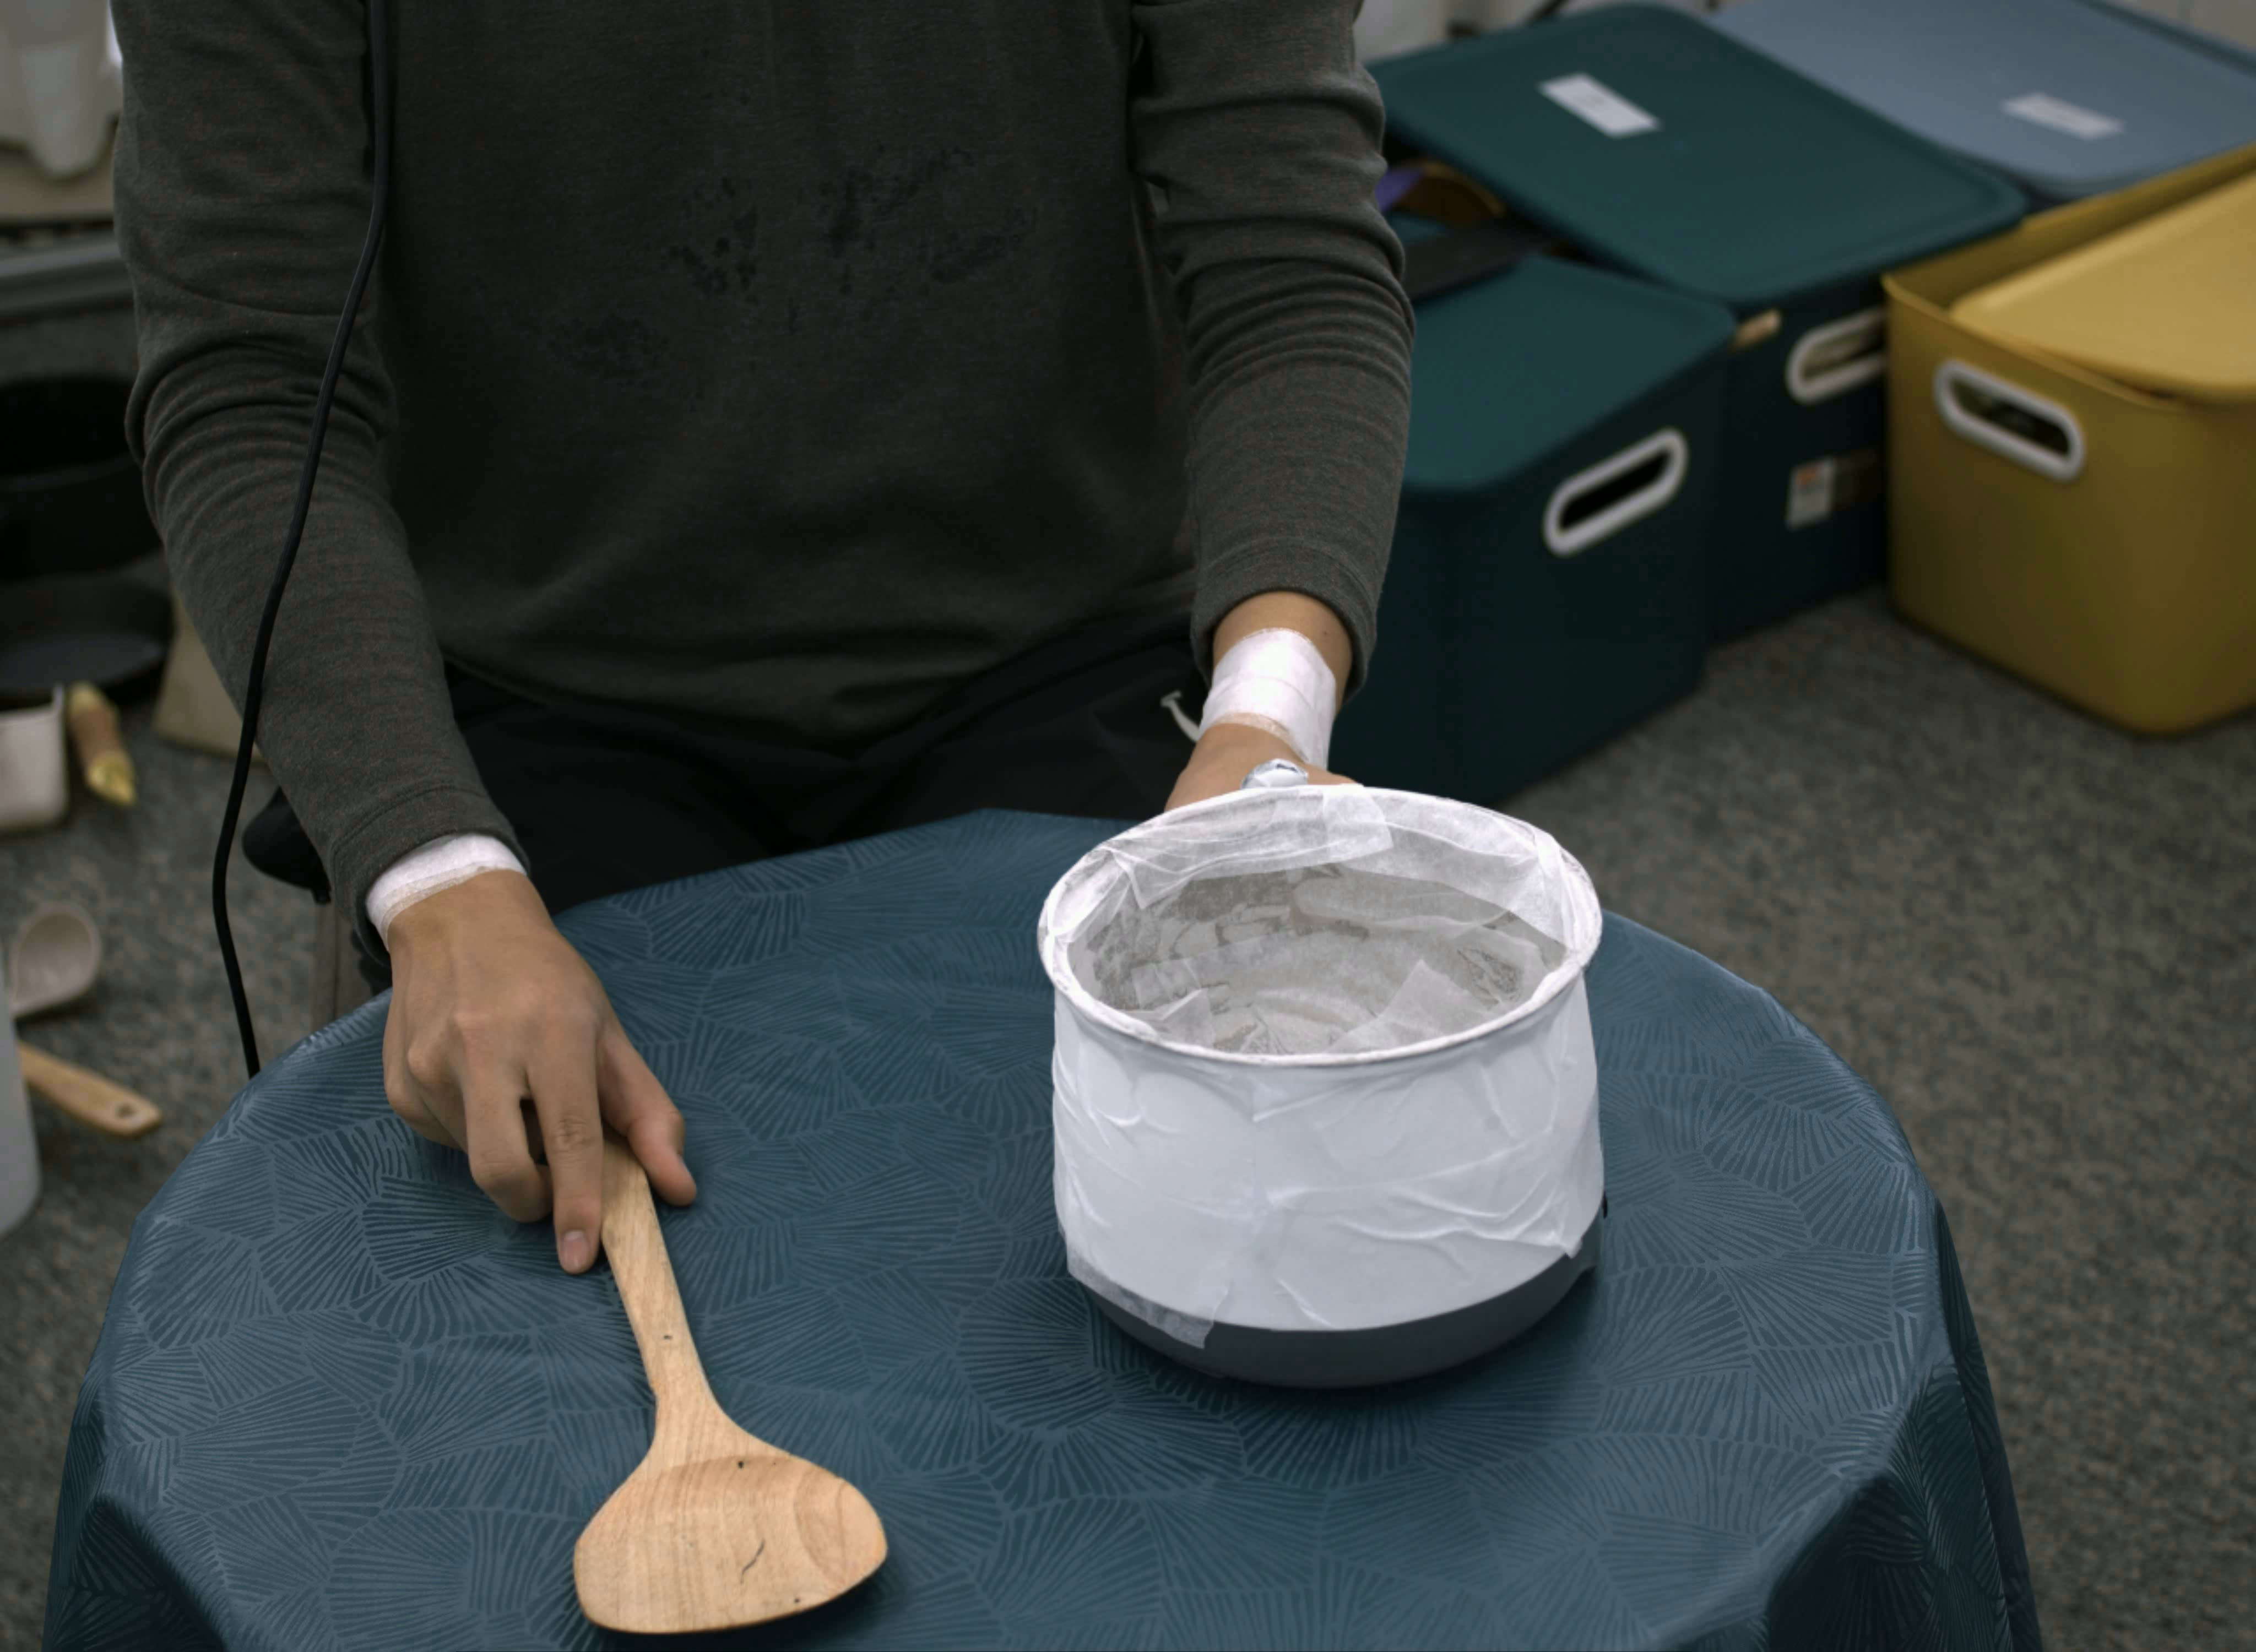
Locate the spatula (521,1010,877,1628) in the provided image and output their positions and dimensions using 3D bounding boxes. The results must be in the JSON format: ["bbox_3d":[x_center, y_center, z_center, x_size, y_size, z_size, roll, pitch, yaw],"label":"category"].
[{"bbox_3d":[-0.160,0.151,1.801,0.096,0.018,0.395,-7,28,-12],"label":"spatula"}]

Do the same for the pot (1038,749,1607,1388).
[{"bbox_3d":[0.059,0.070,1.805,0.178,0.135,0.237,-5,28,-5],"label":"pot"}]
